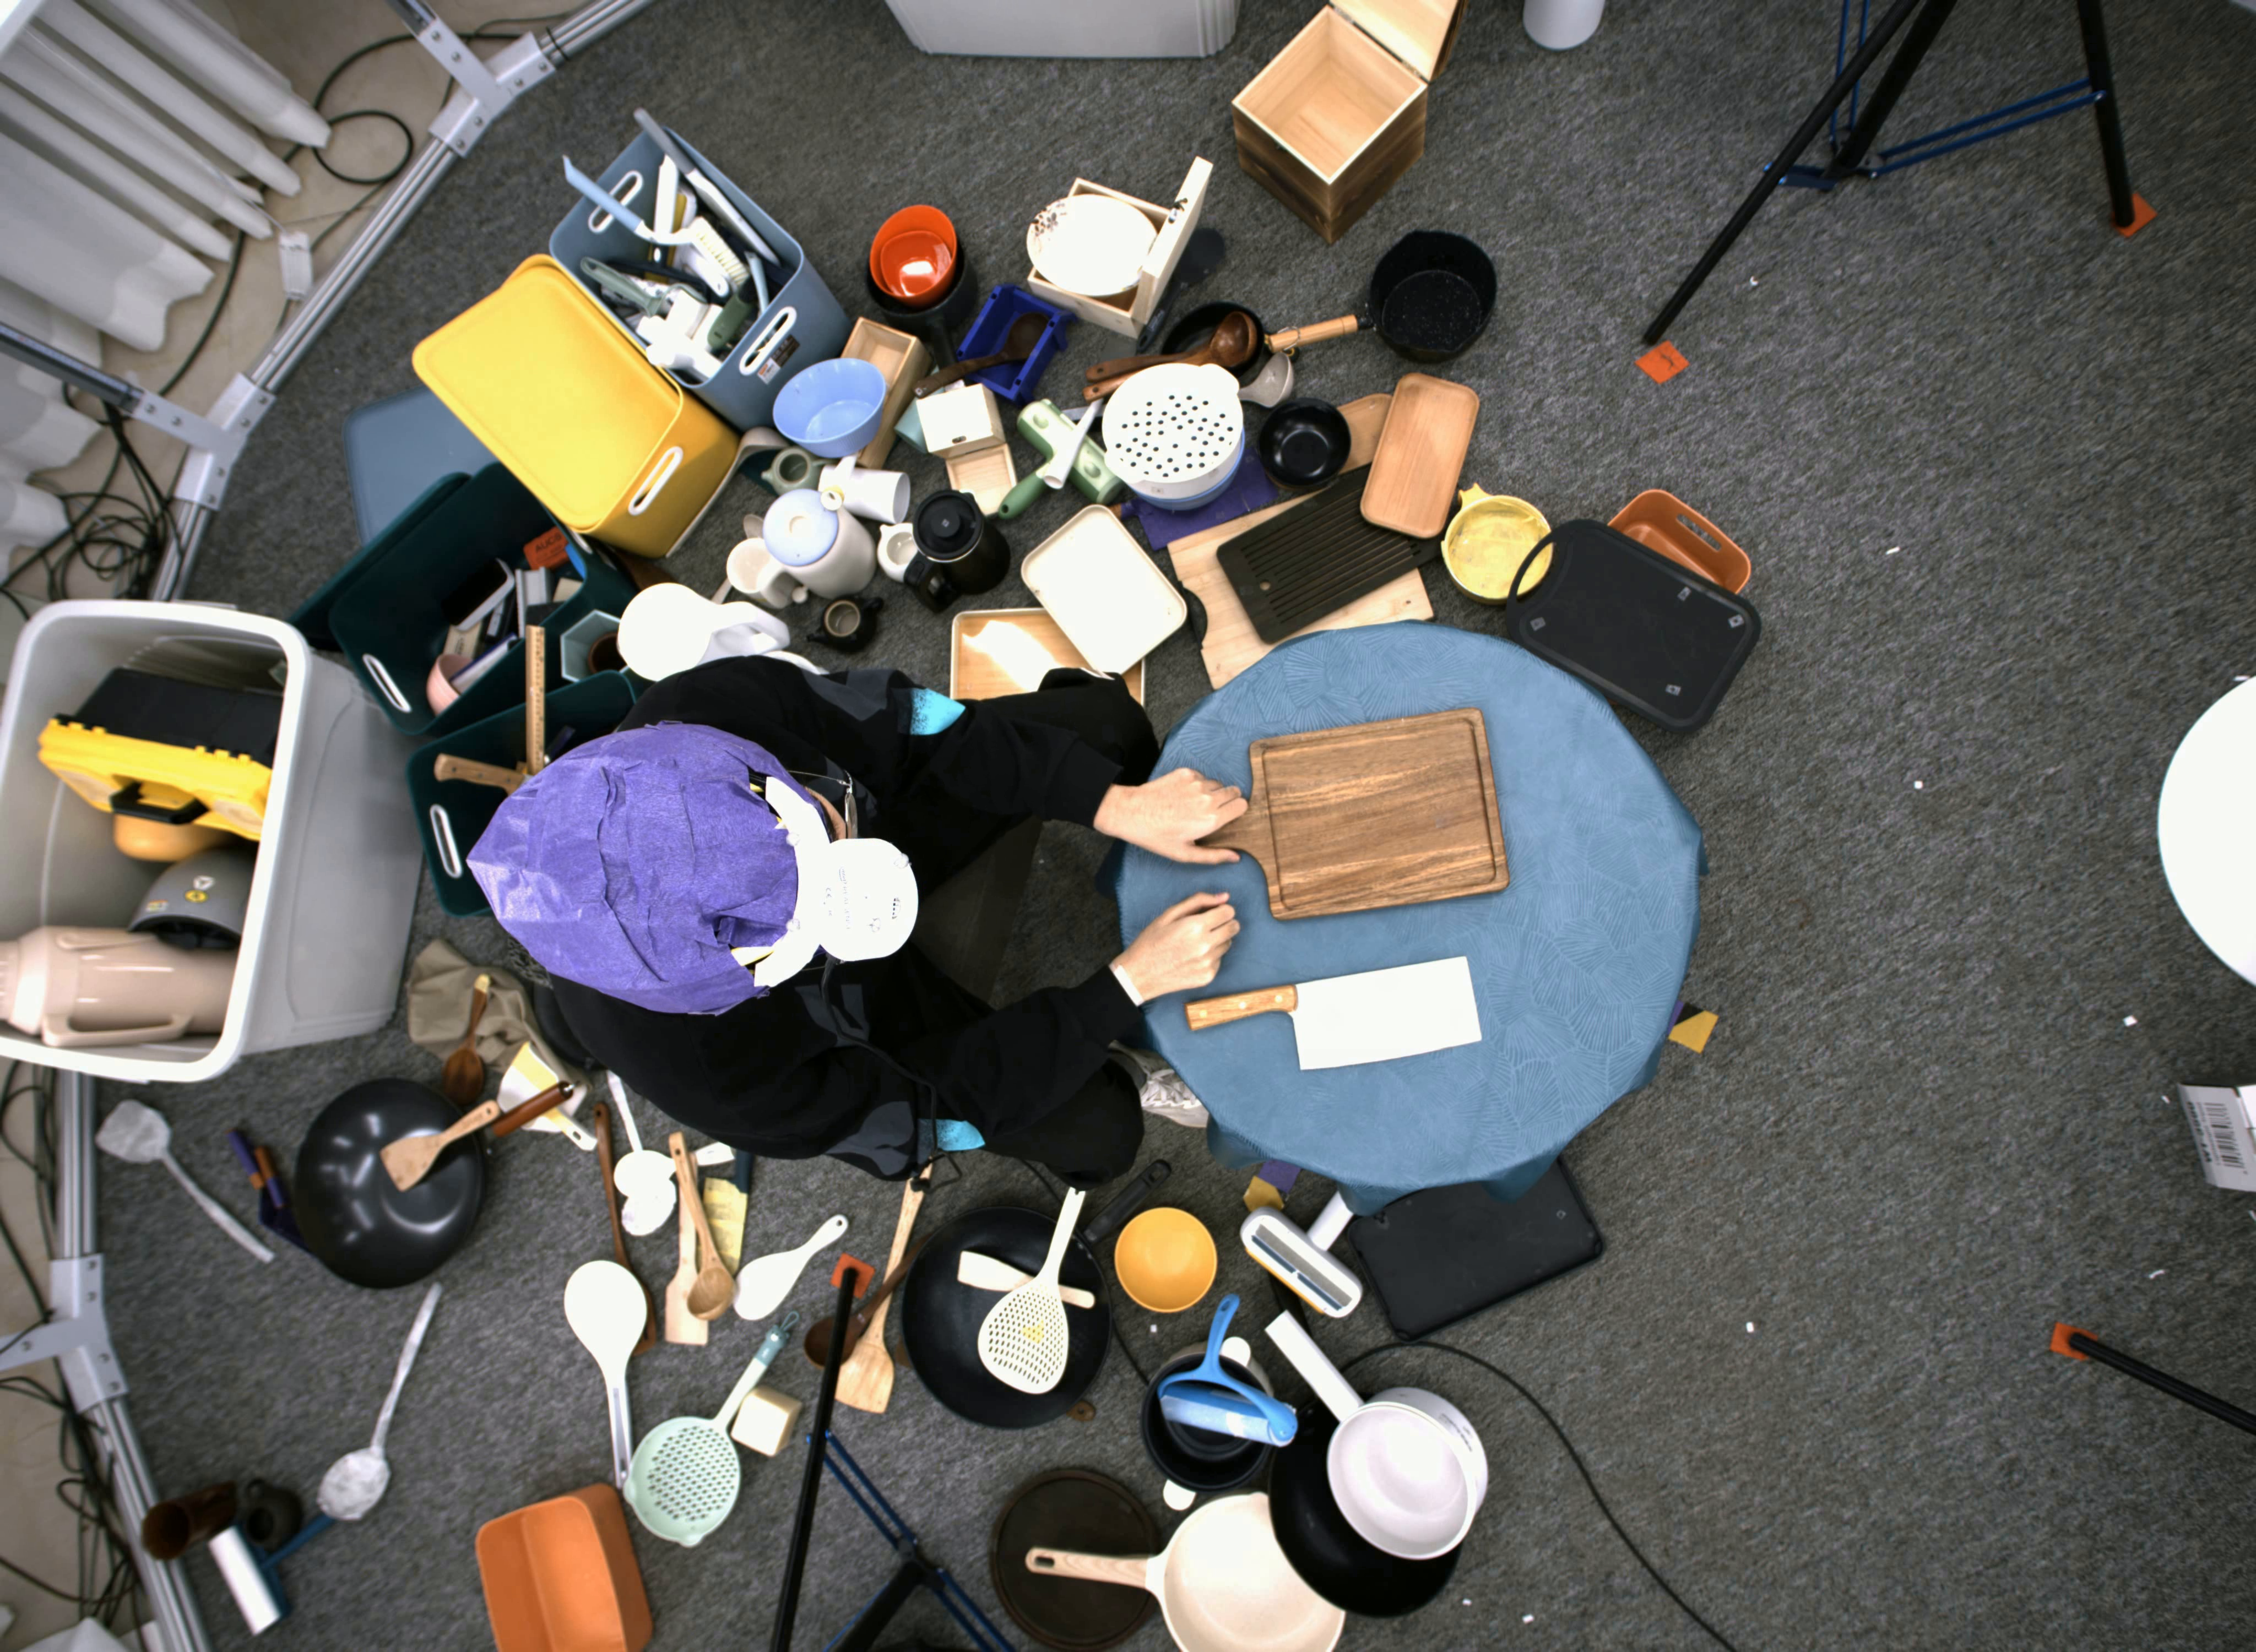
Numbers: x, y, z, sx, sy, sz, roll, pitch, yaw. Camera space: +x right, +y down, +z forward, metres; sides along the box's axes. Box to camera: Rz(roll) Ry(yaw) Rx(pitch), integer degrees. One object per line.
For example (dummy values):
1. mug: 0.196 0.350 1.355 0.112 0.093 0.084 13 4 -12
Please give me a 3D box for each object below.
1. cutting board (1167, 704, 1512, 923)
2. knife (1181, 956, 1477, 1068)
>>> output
1. cutting board: 0.215 -0.007 1.464 0.354 0.023 0.200 -9 85 10
2. knife: 0.211 0.203 1.456 0.307 0.021 0.092 -10 87 7
